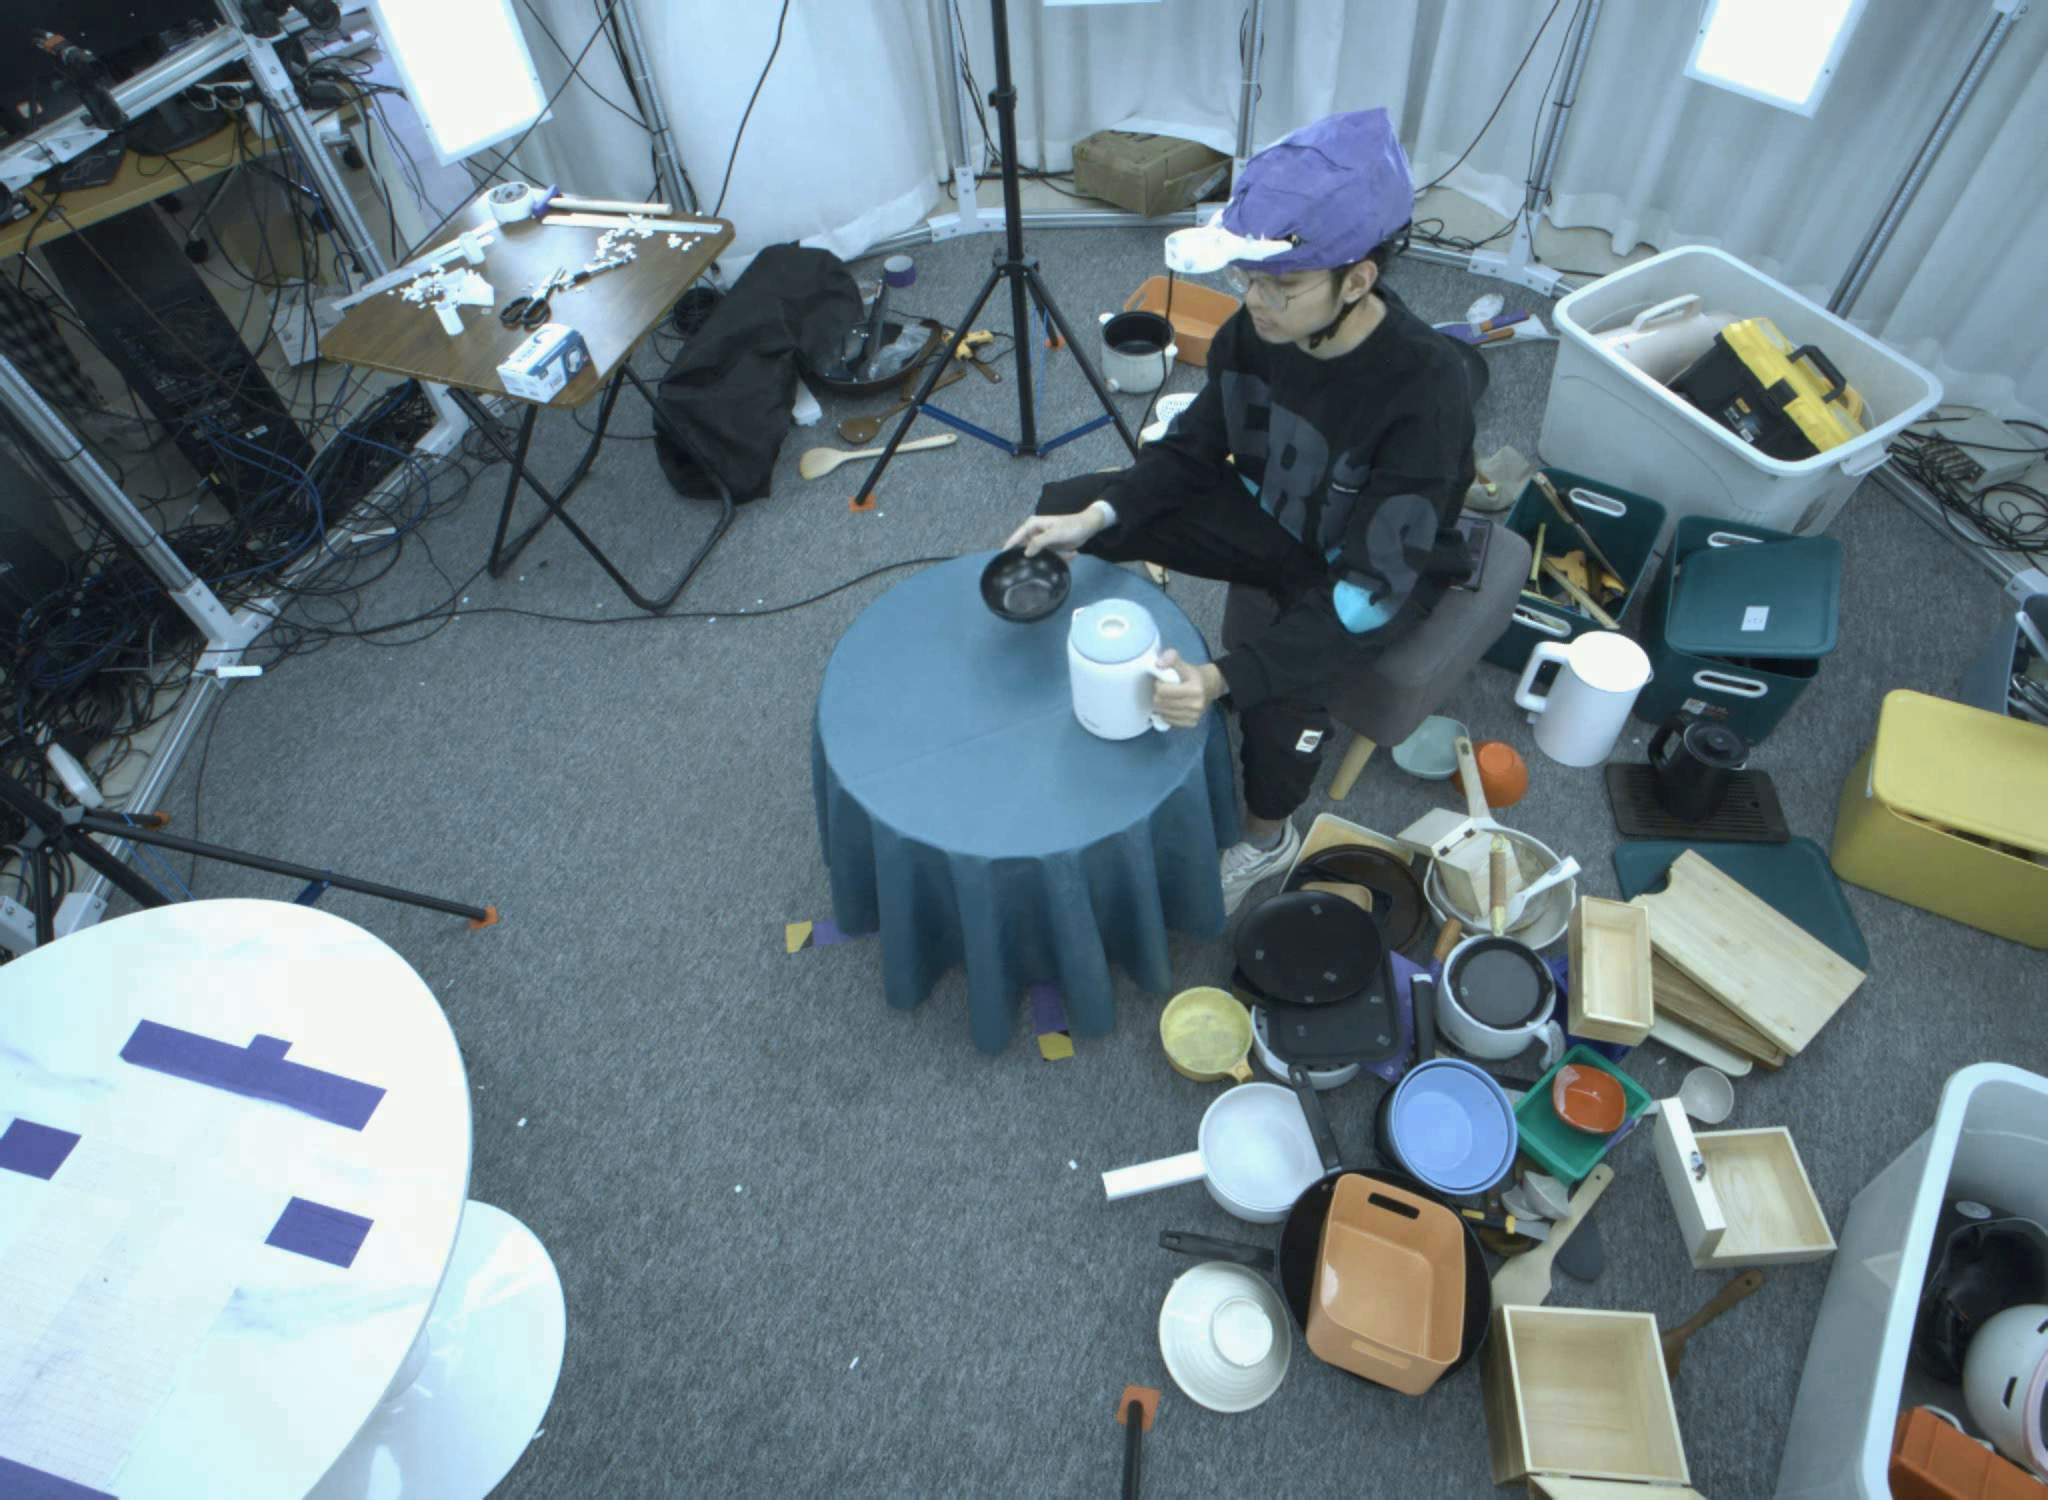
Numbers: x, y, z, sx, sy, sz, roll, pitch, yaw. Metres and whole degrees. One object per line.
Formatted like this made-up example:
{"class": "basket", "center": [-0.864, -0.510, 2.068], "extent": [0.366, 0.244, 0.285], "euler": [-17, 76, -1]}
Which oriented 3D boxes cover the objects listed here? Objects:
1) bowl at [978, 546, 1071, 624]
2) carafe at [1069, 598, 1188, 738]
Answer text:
{"class": "bowl", "center": [0.003, -0.238, 1.836], "extent": [0.140, 0.050, 0.138], "euler": [-2, 57, 4]}
{"class": "carafe", "center": [0.151, -0.104, 1.744], "extent": [0.188, 0.184, 0.133], "euler": [32, 64, 22]}
